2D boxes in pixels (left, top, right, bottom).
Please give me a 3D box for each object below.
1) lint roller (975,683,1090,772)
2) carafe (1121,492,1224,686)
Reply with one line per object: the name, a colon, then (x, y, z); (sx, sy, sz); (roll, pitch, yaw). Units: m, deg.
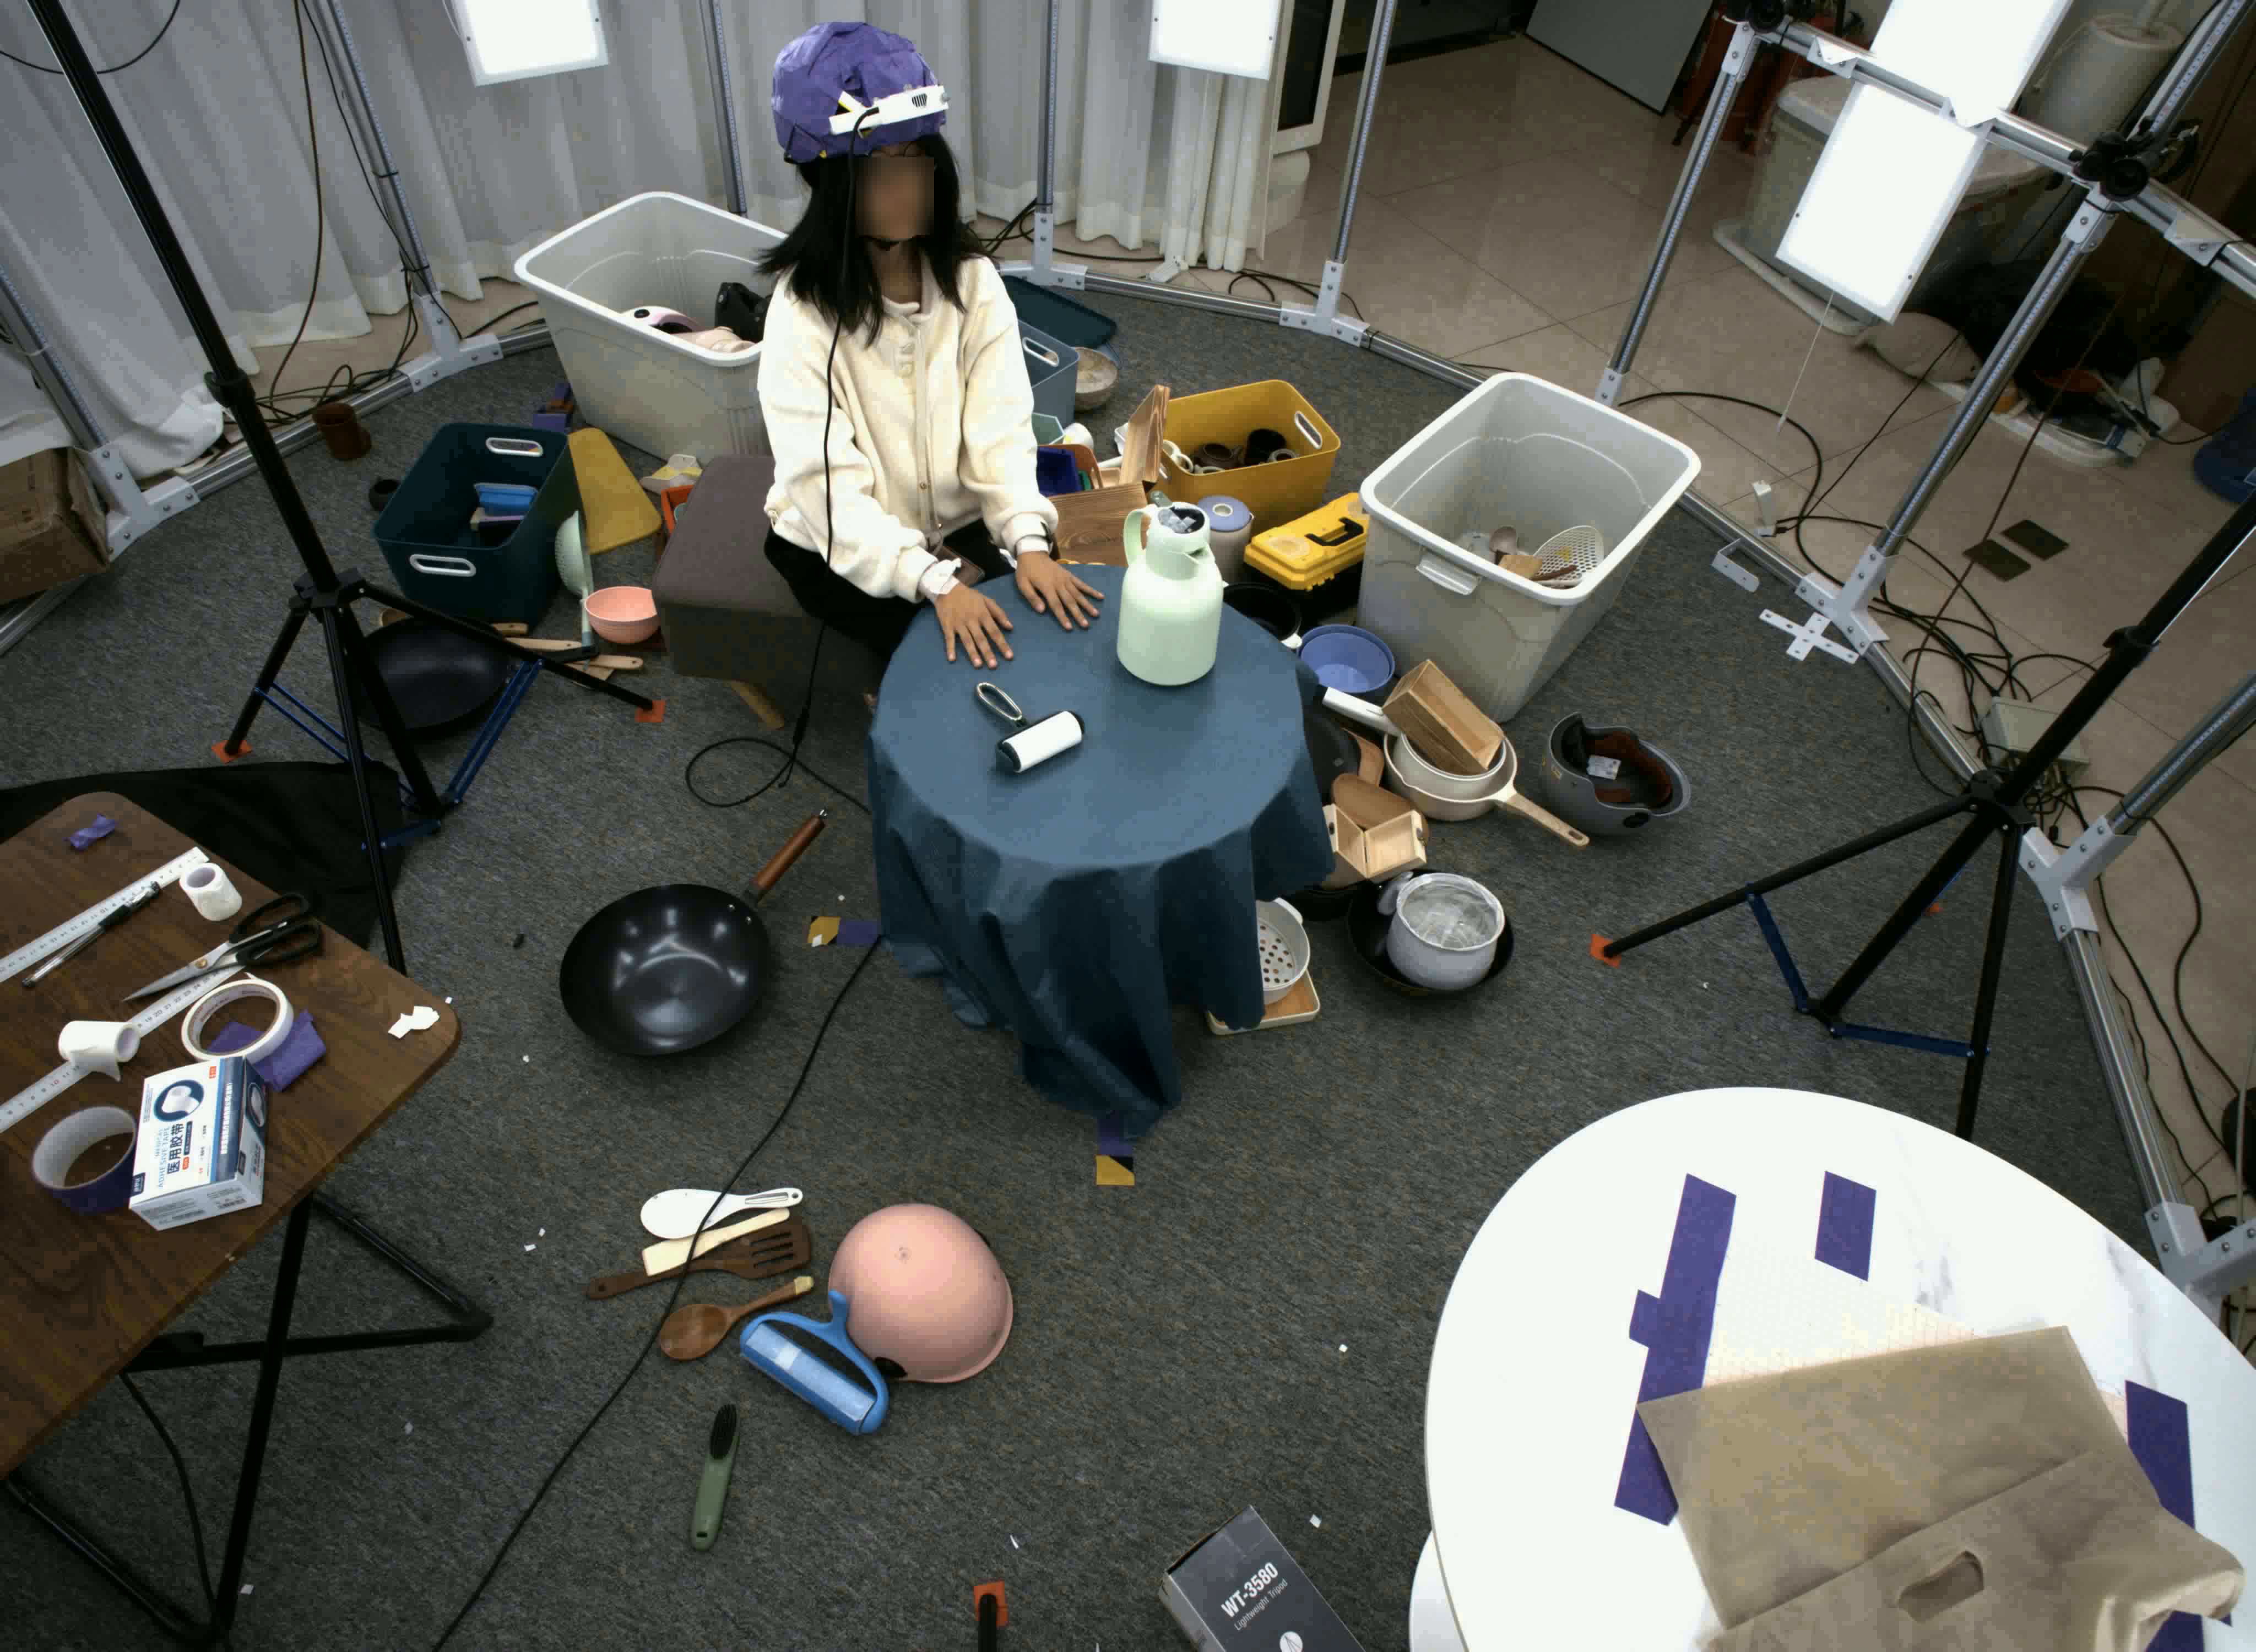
lint roller: (-0.156, -0.157, 1.765); (0.135, 0.047, 0.183); (-27, 56, -25)
carafe: (0.056, -0.337, 1.806); (0.145, 0.250, 0.190); (-25, 52, -21)
